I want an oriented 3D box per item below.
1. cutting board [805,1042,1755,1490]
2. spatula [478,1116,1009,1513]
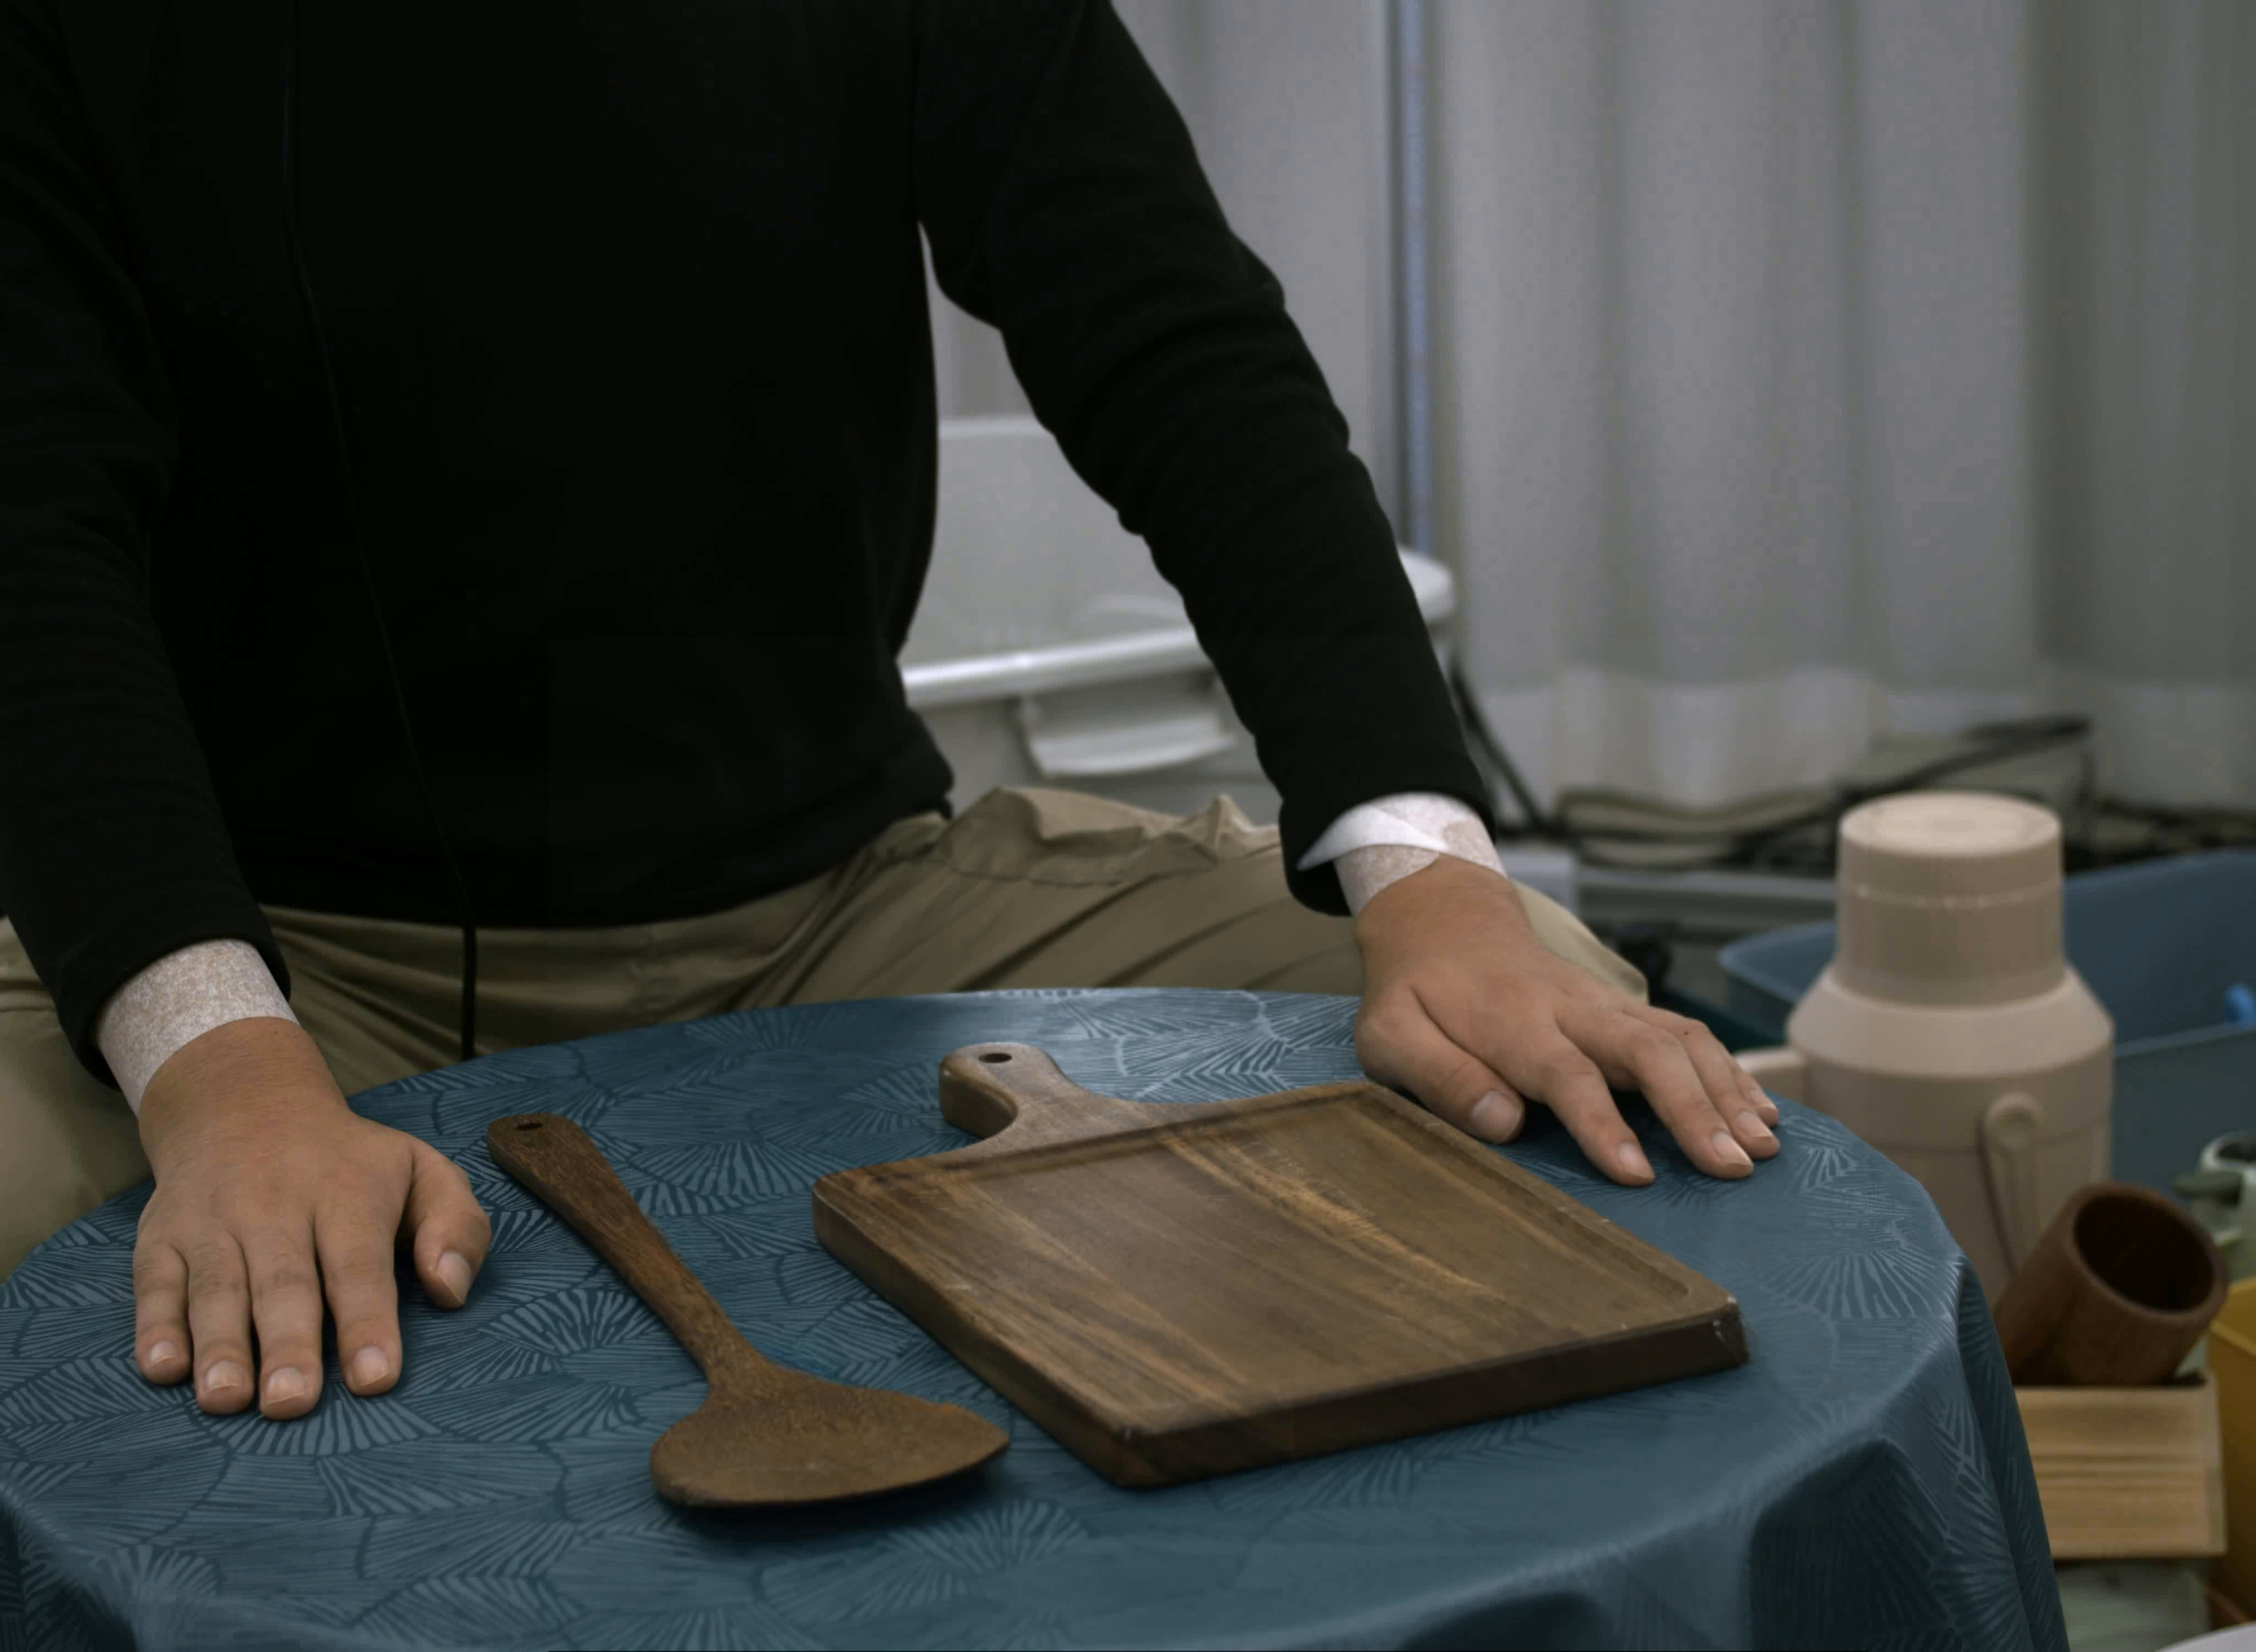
[{"bbox_3d":[0.019,0.119,1.655,0.200,0.023,0.355,-9,16,-22],"label":"cutting board"},{"bbox_3d":[-0.136,0.138,1.623,0.095,0.016,0.389,-8,15,-19],"label":"spatula"}]
